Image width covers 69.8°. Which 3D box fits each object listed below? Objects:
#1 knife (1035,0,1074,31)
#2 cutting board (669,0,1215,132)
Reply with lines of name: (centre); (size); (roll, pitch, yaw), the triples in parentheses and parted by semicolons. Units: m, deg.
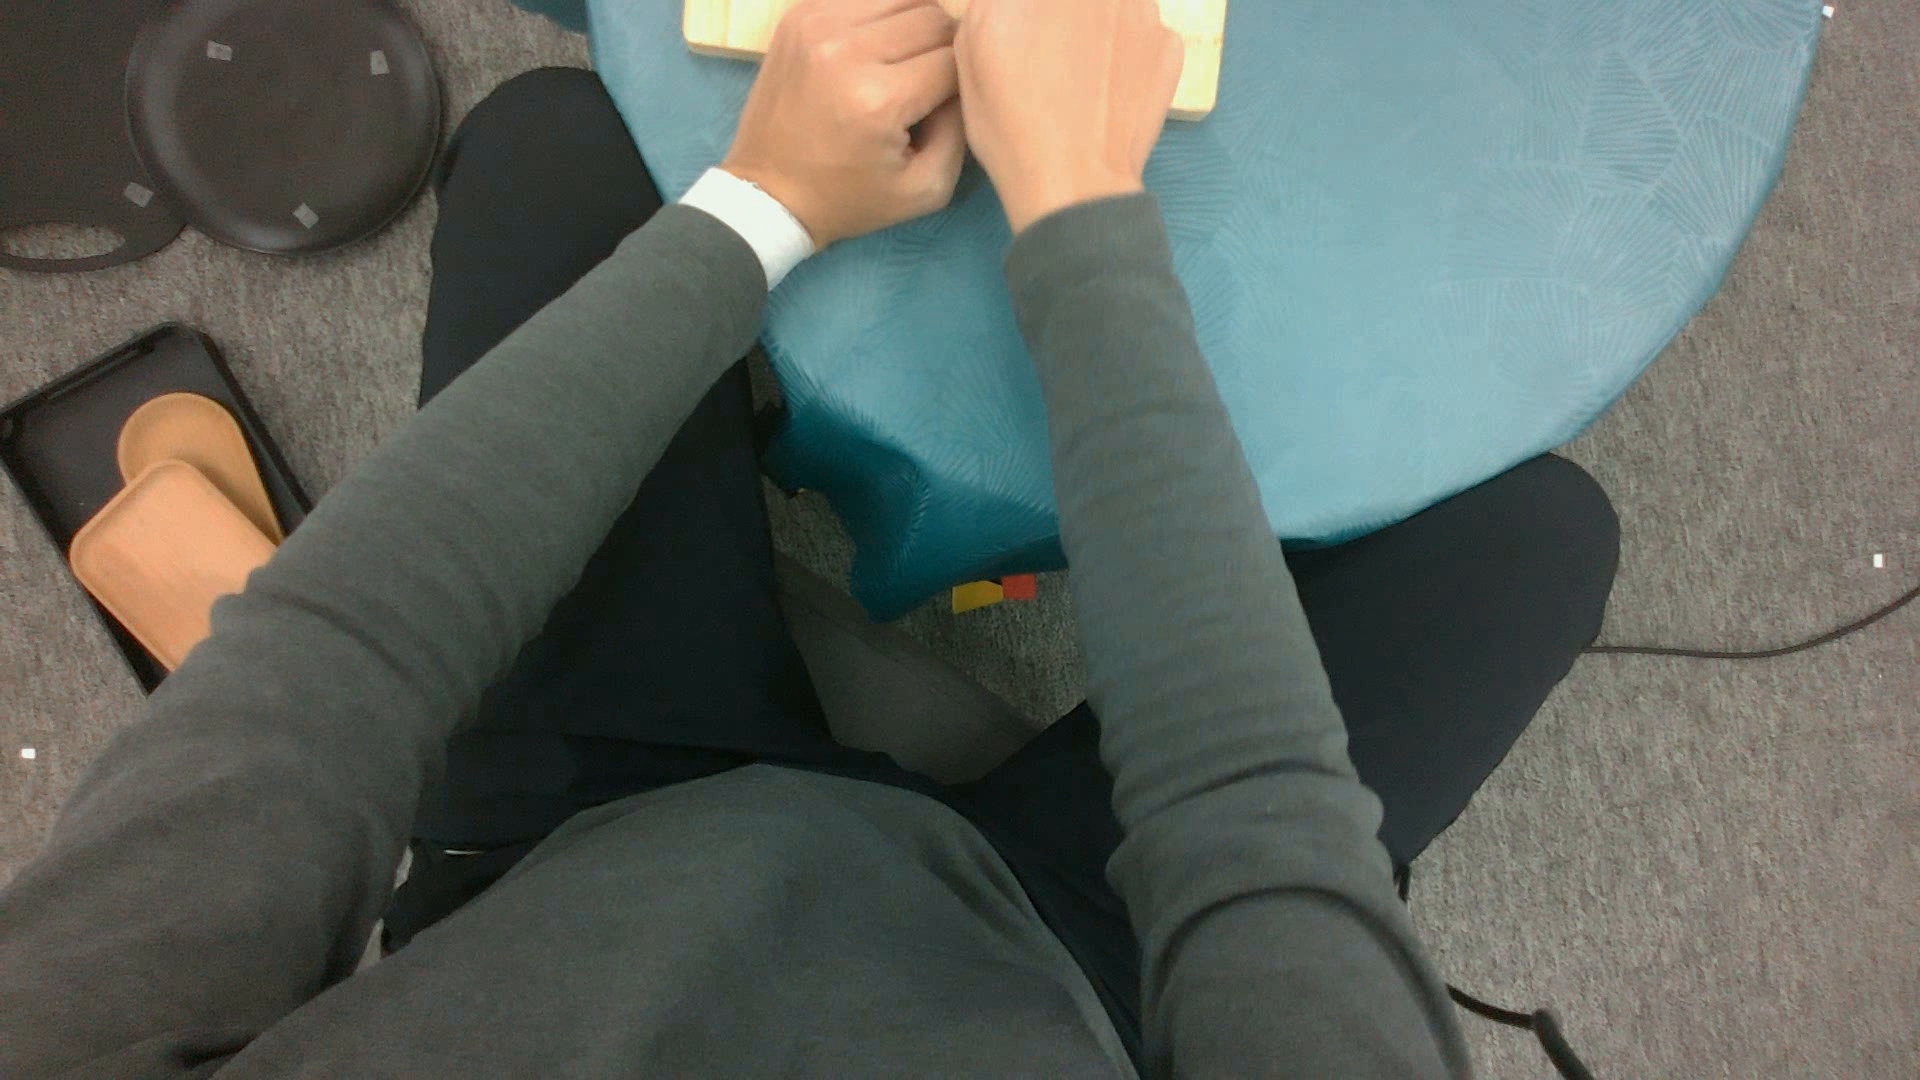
knife: (0.041, -0.334, 0.580); (0.016, 0.024, 0.238); (2, 86, -15)
cutting board: (0.008, -0.374, 0.623); (0.251, 0.023, 0.348); (5, 92, -6)
